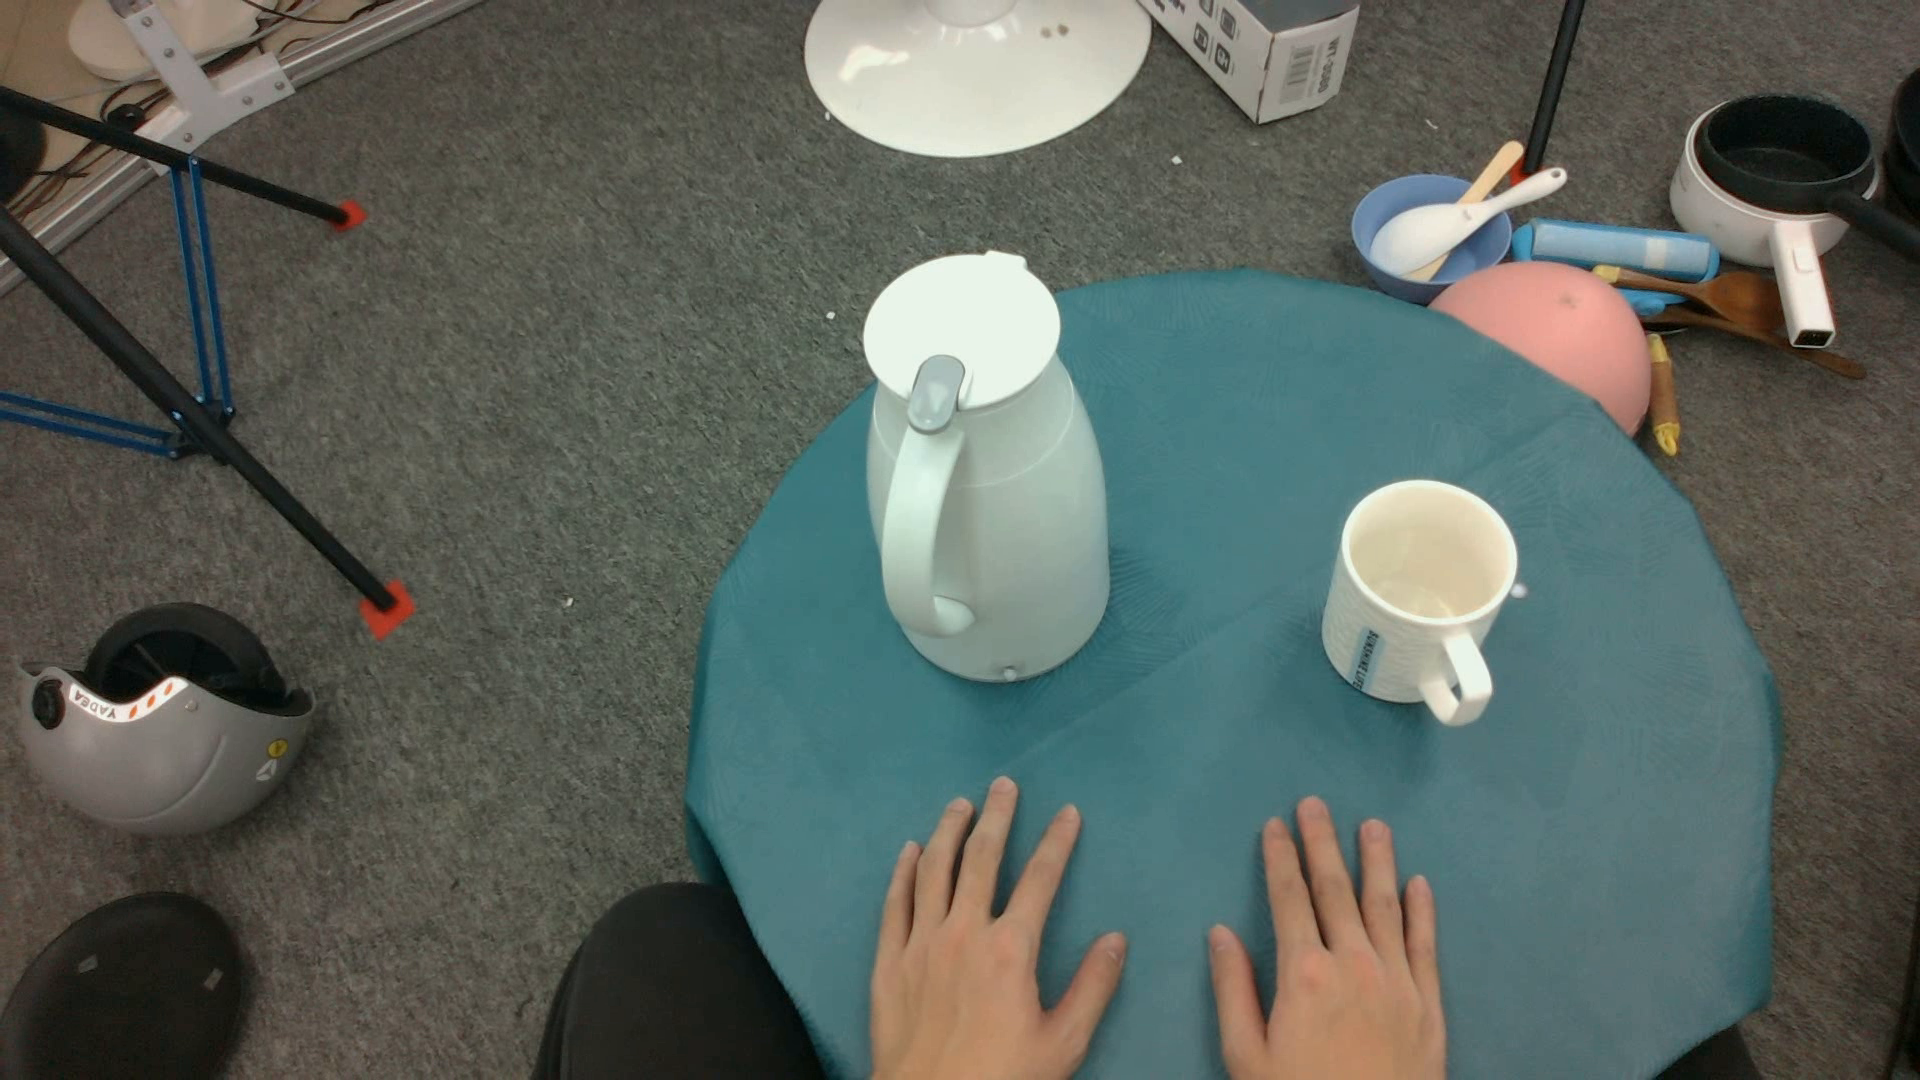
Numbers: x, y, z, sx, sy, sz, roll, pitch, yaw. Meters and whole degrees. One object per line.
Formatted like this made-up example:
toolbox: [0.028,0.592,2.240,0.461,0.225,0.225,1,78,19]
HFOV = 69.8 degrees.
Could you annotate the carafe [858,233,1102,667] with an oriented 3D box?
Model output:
carafe: [0.004,-0.029,0.720,0.132,0.247,0.168,13,61,13]

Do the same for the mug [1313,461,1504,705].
mug: [0.244,0.034,0.741,0.085,0.101,0.118,-15,58,-3]
